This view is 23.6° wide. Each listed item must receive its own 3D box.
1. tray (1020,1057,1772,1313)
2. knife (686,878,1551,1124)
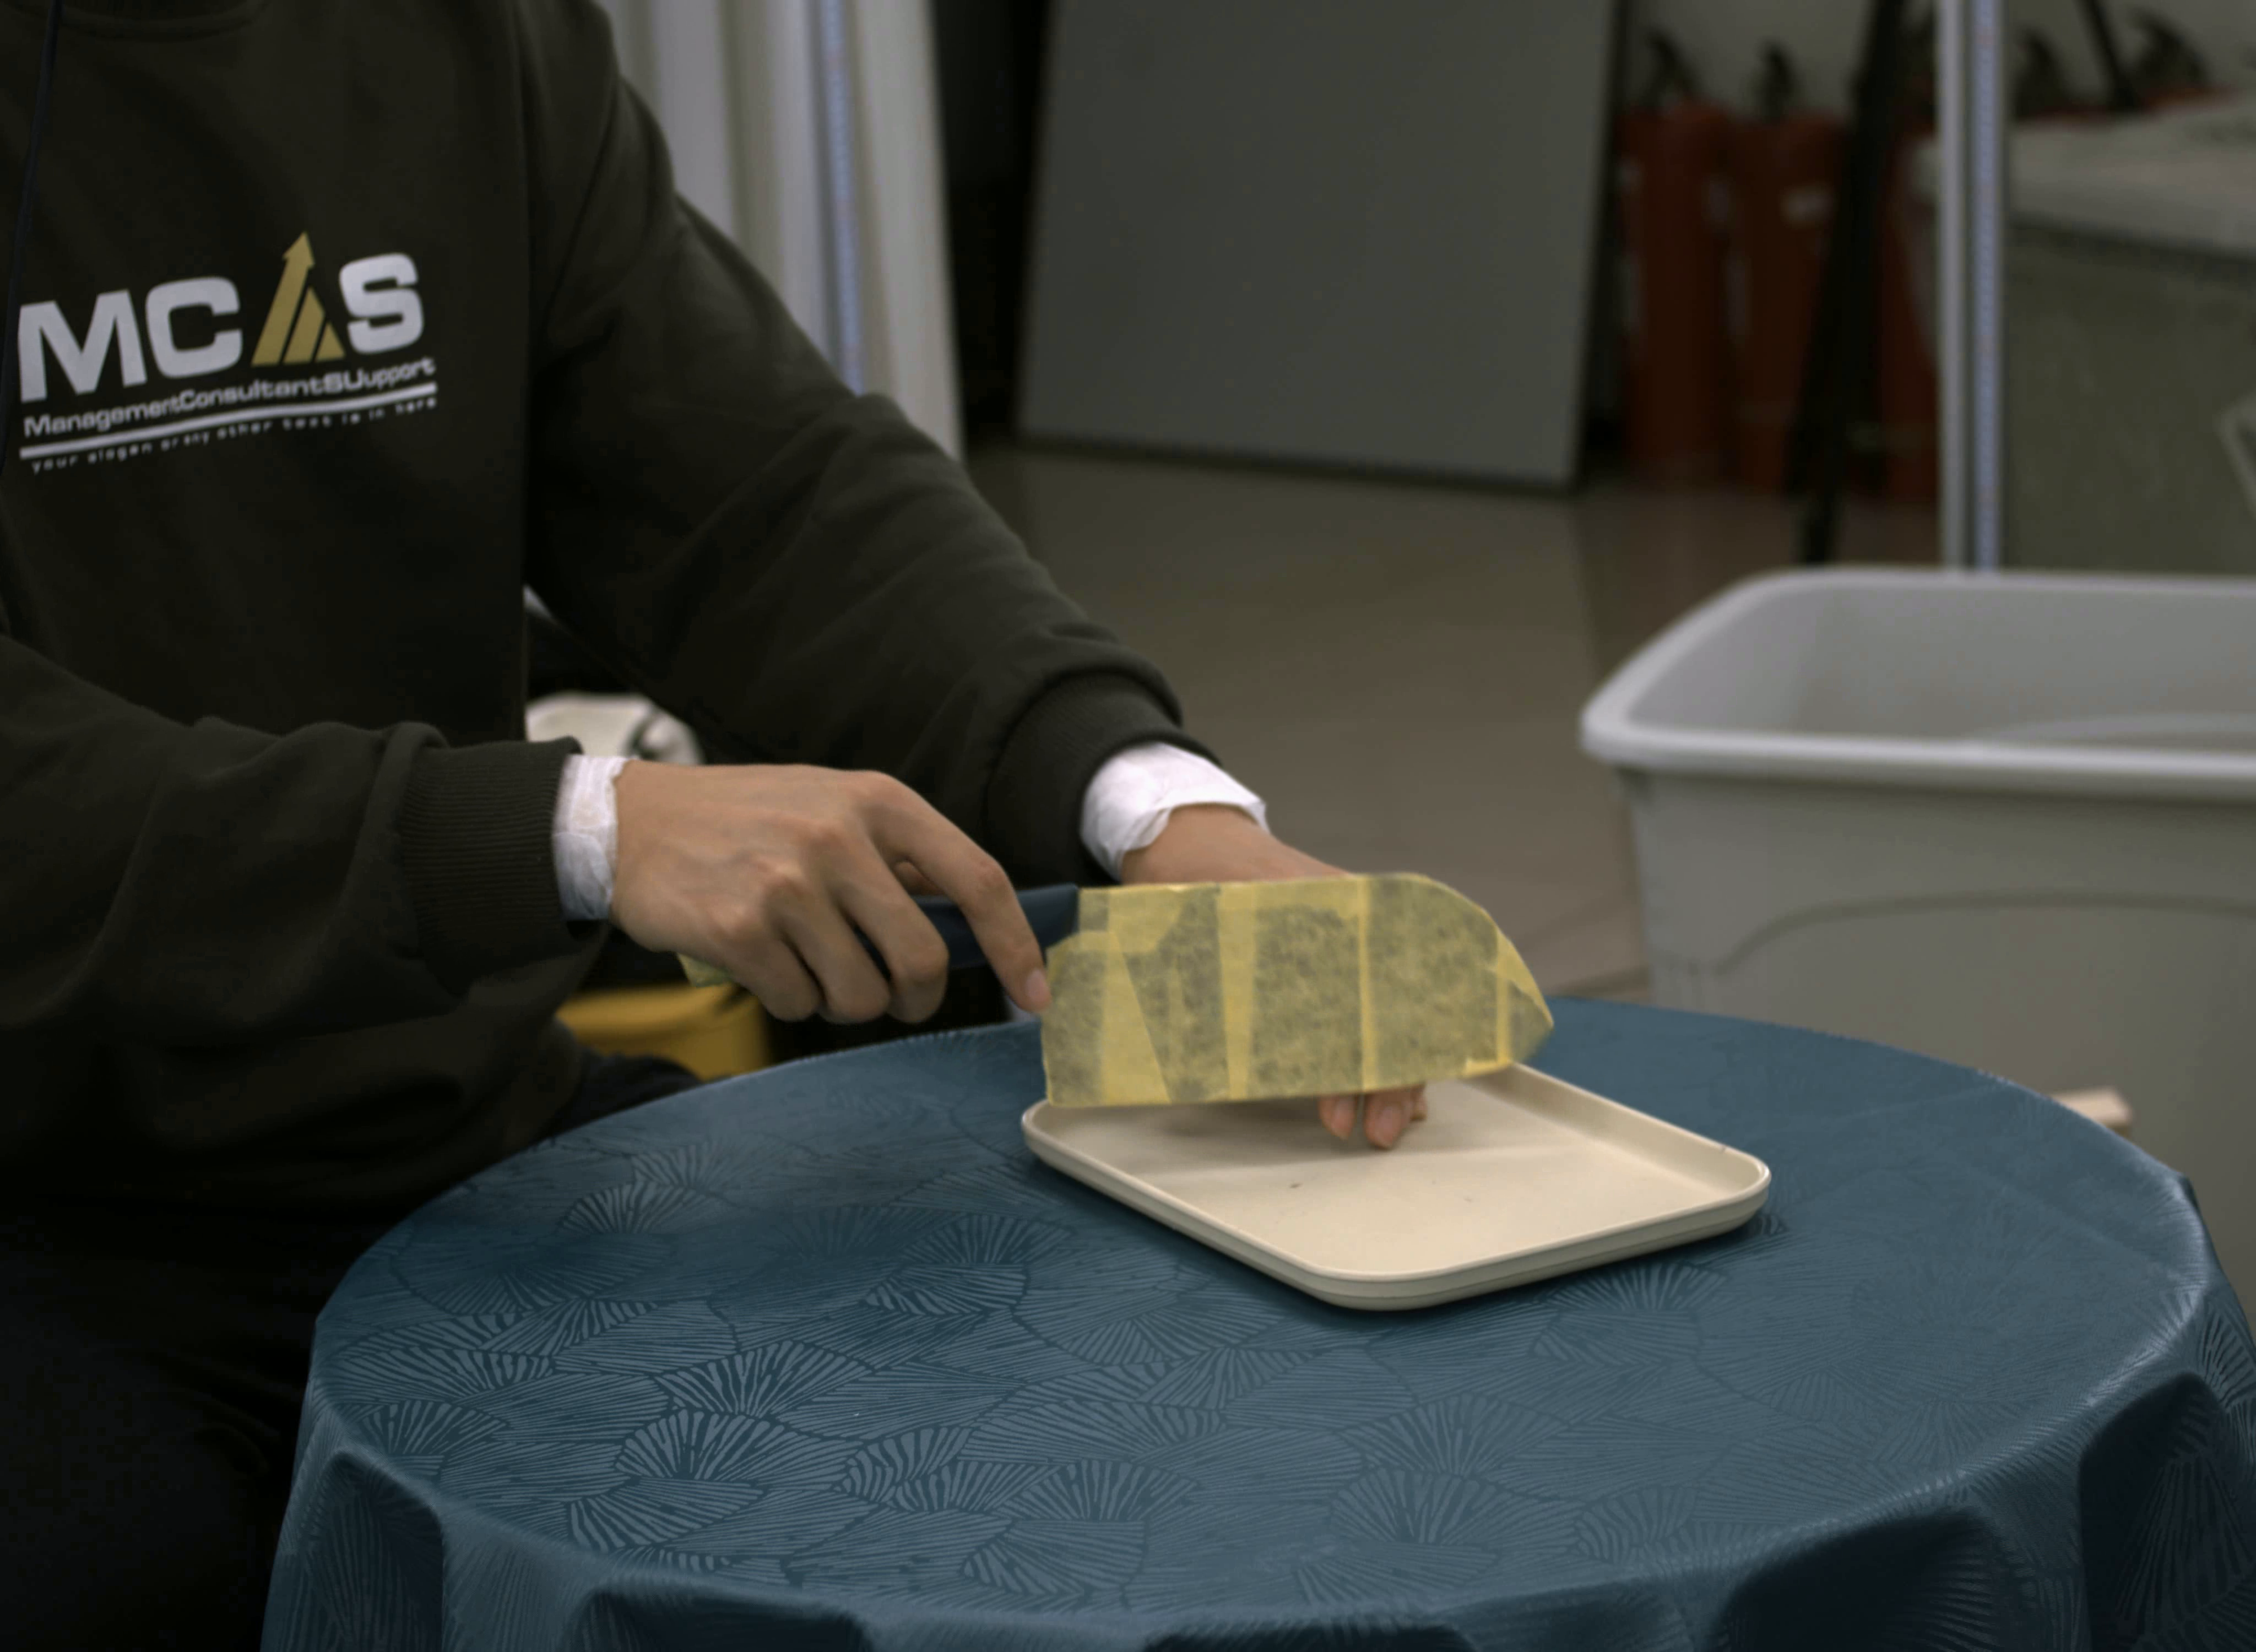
[{"bbox_3d":[0.084,0.112,1.751,0.167,0.017,0.242,-12,15,-27],"label":"tray"},{"bbox_3d":[-0.002,0.057,1.774,0.285,0.082,0.027,1,1,-1],"label":"knife"}]
